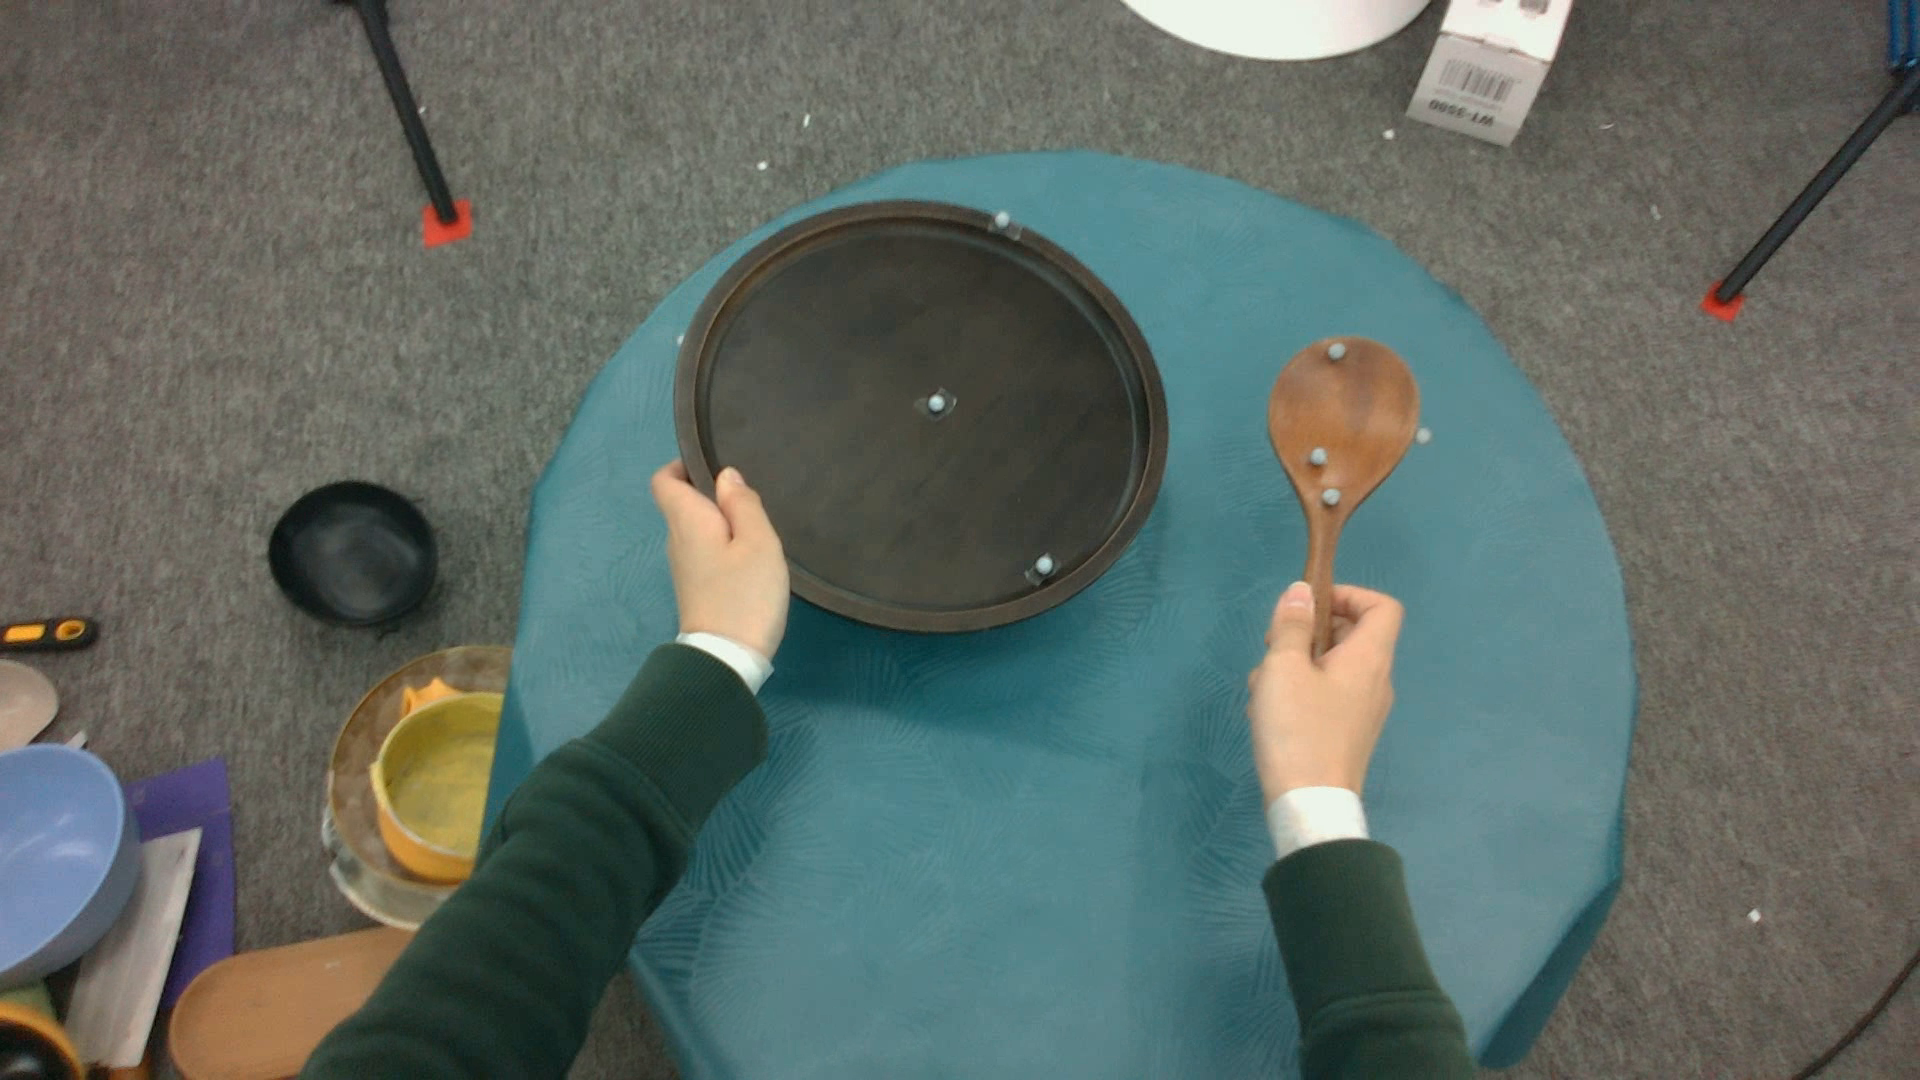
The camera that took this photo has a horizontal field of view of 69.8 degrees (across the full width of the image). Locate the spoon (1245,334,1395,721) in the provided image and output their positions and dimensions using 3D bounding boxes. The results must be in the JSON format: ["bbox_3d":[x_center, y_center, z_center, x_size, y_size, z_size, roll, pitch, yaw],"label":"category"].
[{"bbox_3d":[0.171,-0.012,0.680,0.075,0.017,0.217,8,62,10],"label":"spoon"}]

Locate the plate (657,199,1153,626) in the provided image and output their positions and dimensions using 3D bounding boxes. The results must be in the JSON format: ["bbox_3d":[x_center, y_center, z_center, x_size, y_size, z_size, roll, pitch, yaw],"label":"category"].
[{"bbox_3d":[-0.026,-0.071,0.707,0.255,0.029,0.256,4,61,-7],"label":"plate"}]
